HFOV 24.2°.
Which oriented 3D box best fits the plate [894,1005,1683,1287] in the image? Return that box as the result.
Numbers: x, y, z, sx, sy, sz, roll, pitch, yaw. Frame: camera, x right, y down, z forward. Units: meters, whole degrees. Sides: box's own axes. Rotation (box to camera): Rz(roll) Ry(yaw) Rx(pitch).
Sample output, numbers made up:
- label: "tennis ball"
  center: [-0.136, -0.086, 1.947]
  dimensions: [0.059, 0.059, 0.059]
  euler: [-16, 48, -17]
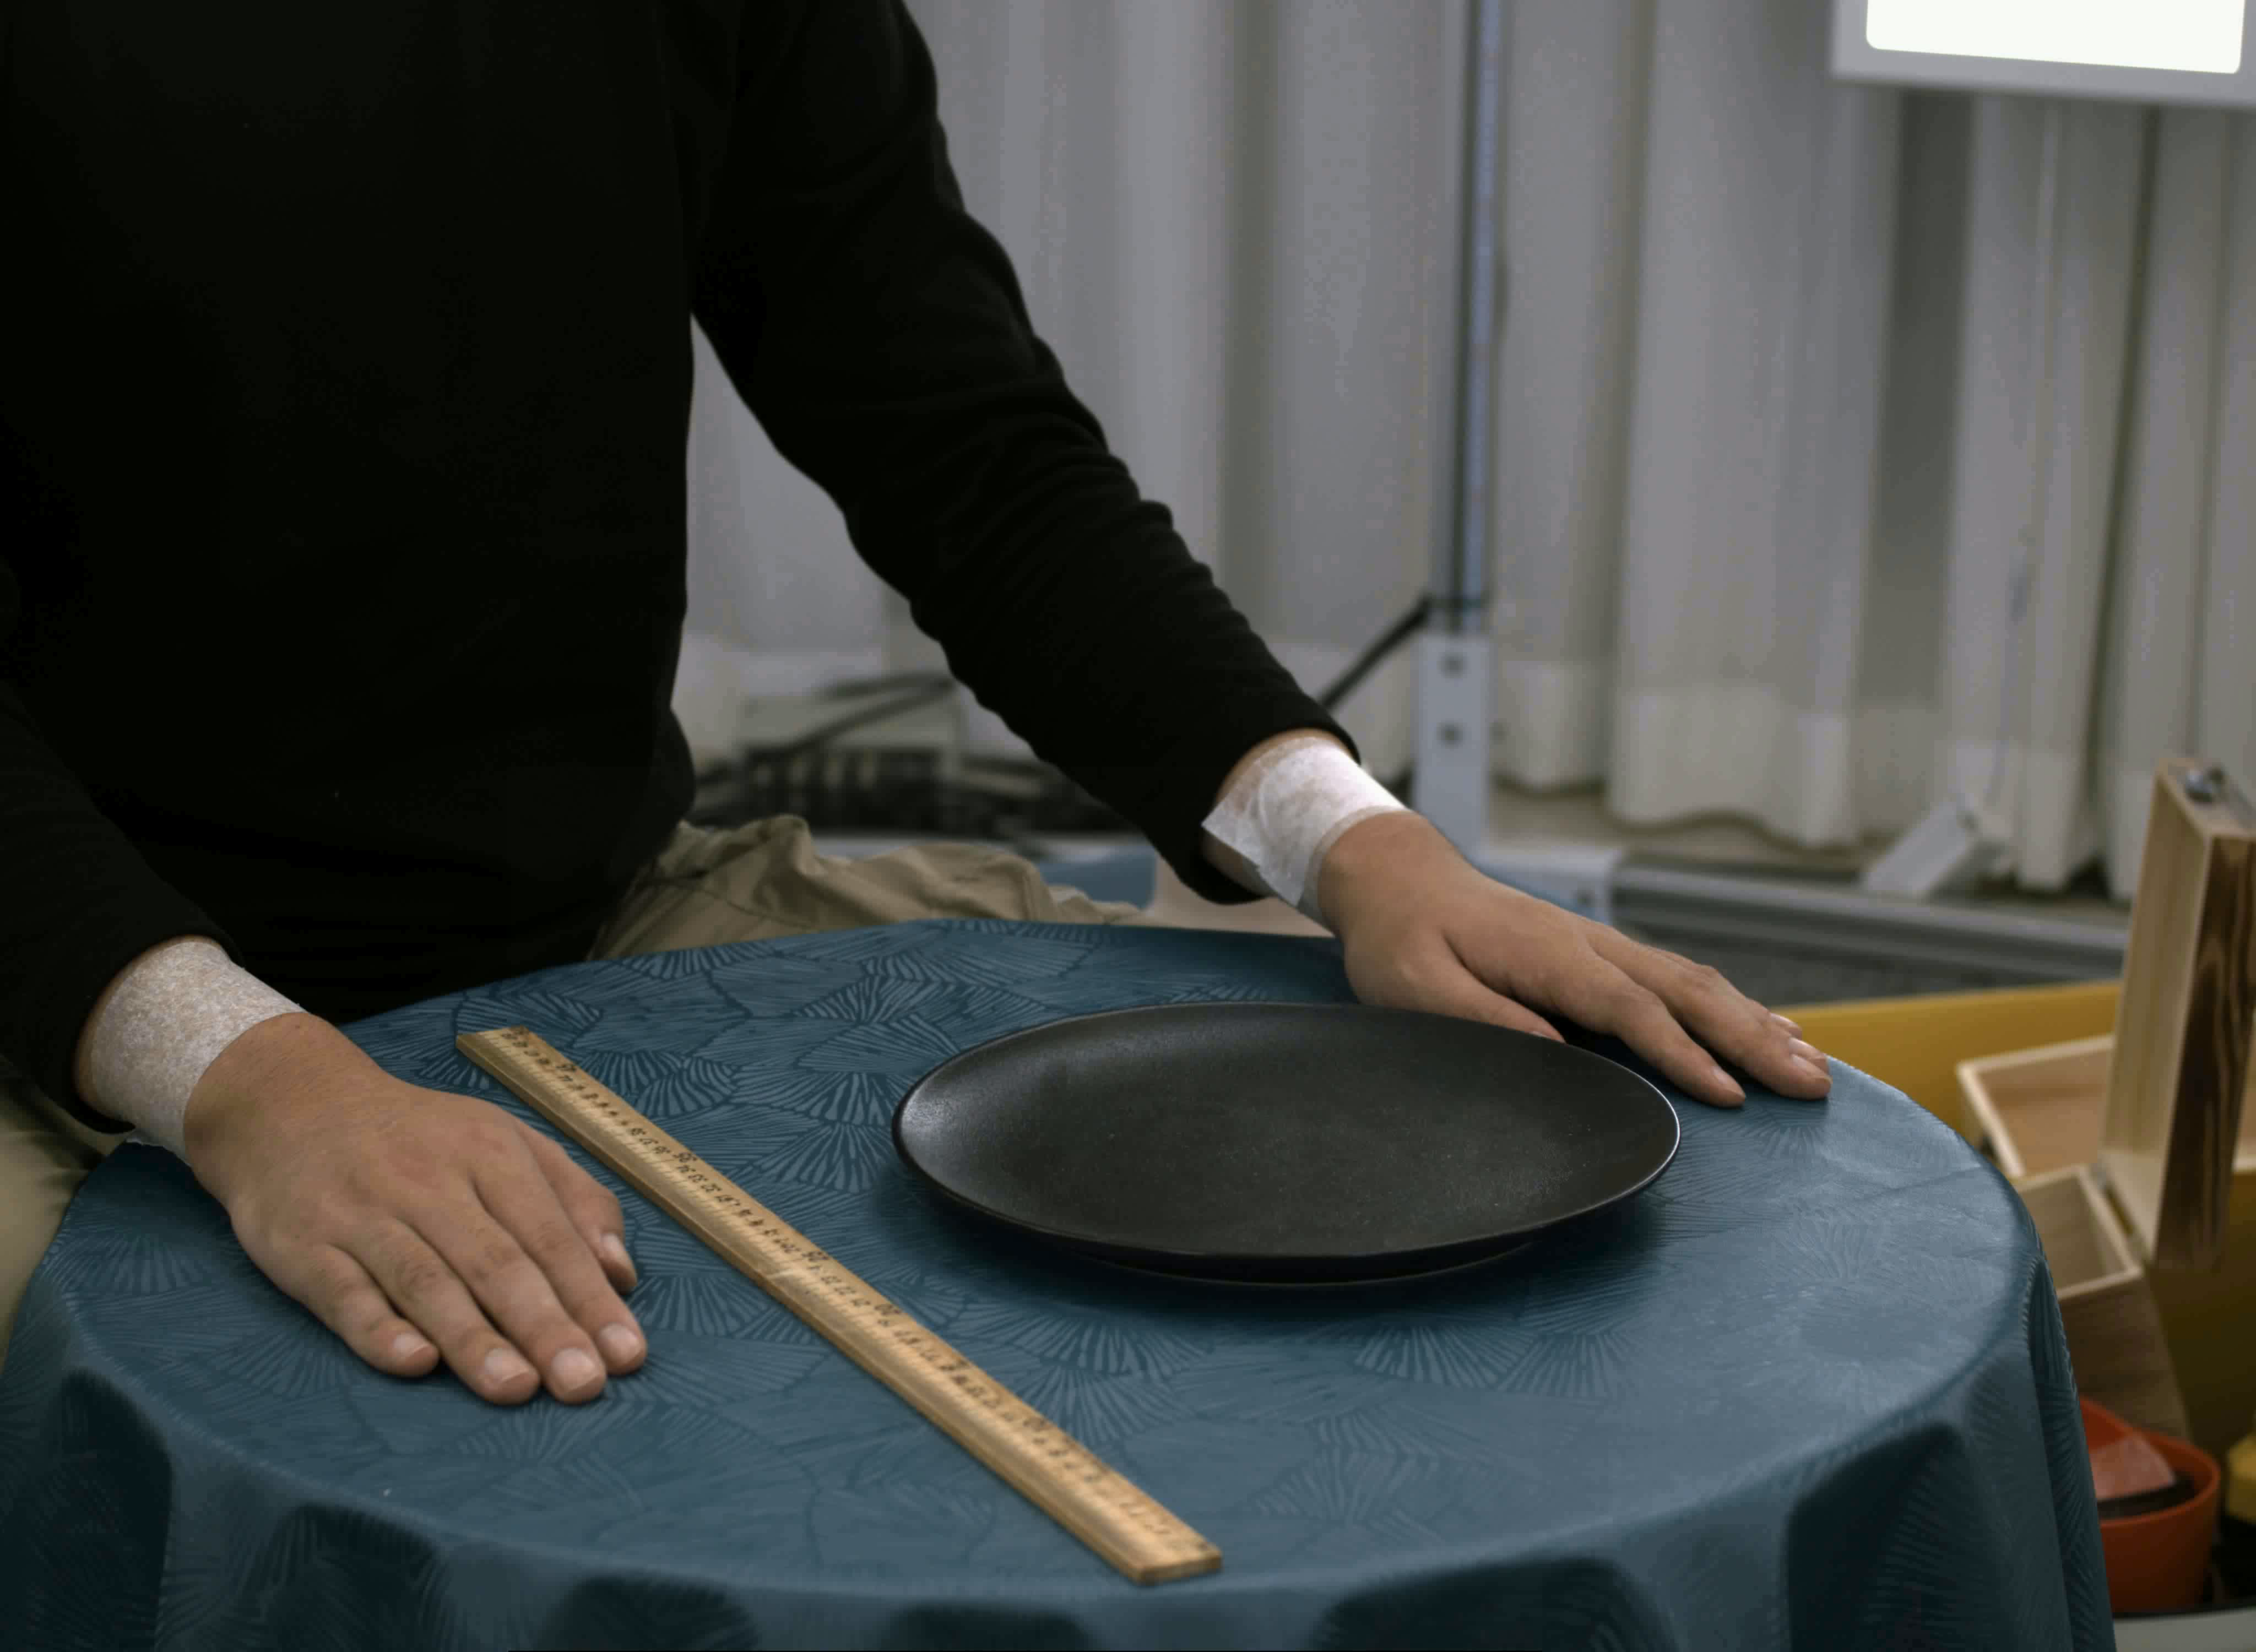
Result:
- label: "plate"
  center: [0.050, 0.100, 1.623]
  dimensions: [0.243, 0.023, 0.243]
  euler: [0, 15, 0]

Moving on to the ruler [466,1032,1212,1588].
- label: "ruler"
  center: [-0.098, 0.130, 1.545]
  dimensions: [0.027, 0.006, 0.494]
  euler: [-5, 16, -26]
